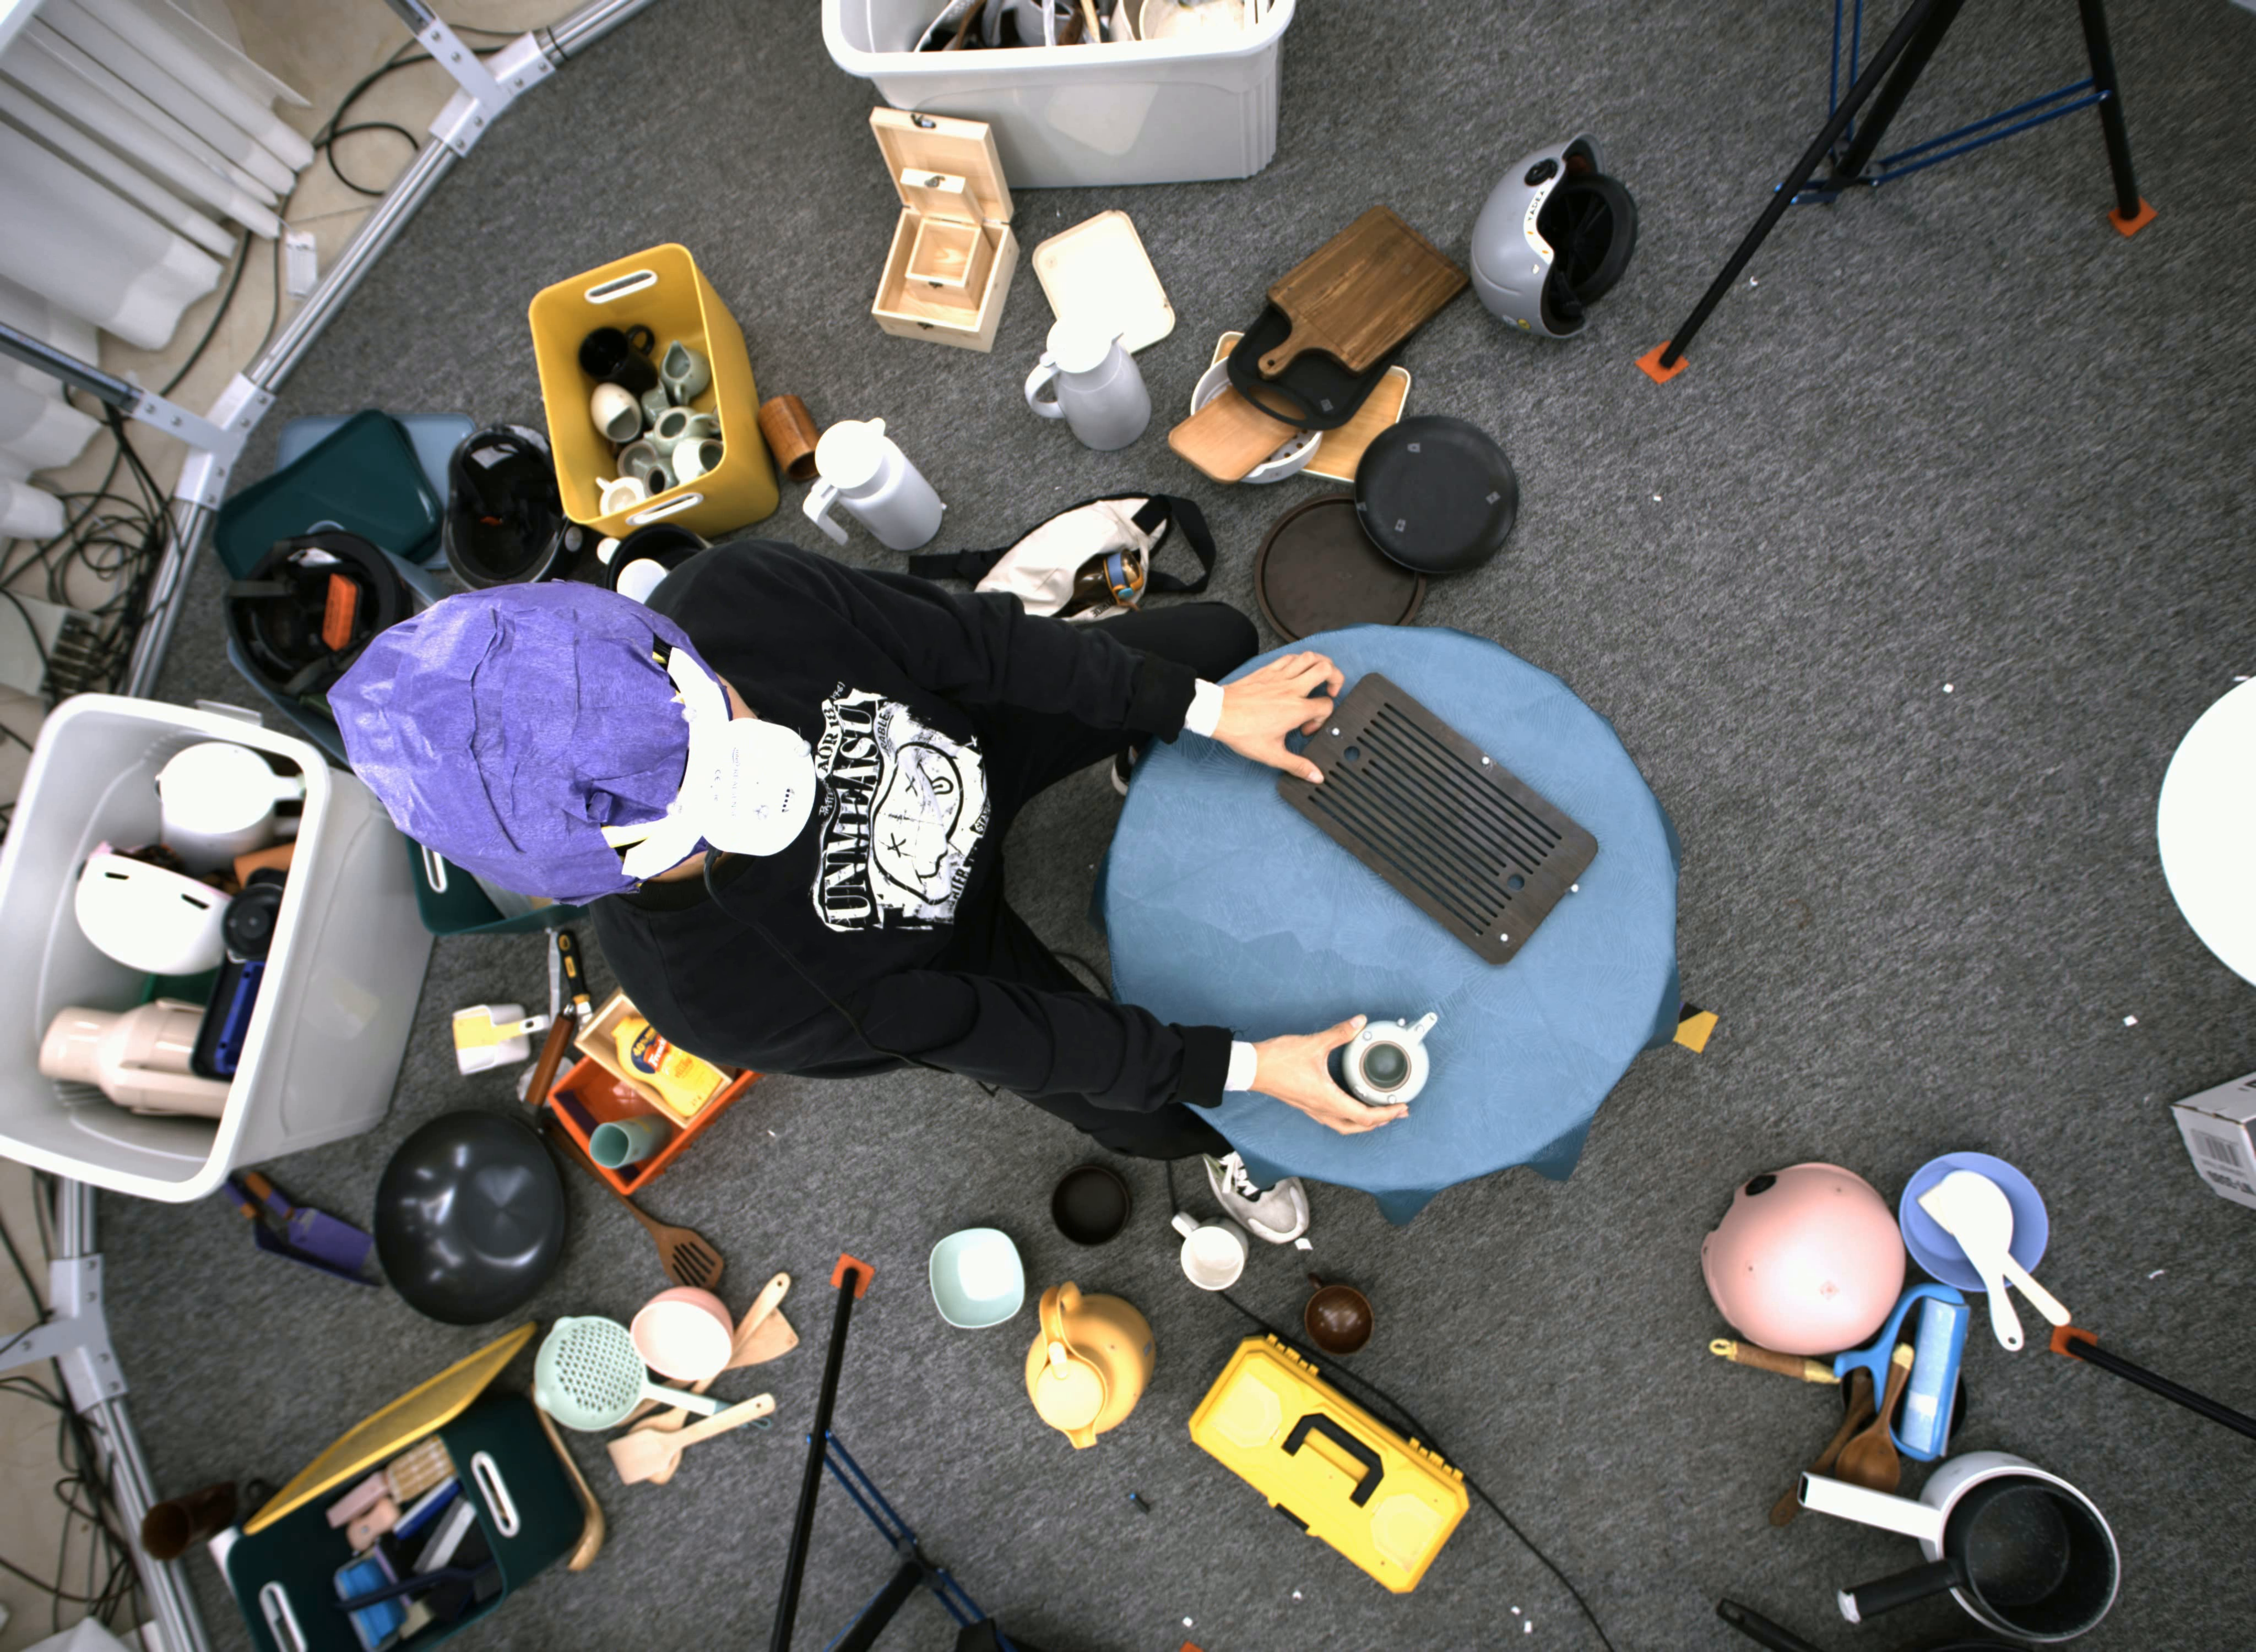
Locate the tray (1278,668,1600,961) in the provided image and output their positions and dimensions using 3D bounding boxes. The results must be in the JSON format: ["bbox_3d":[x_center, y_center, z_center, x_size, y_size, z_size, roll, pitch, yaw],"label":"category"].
[{"bbox_3d":[0.324,-0.016,1.446,0.305,0.018,0.171,40,95,10],"label":"tray"}]

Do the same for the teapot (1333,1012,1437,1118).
[{"bbox_3d":[0.263,0.241,1.418,0.144,0.075,0.088,-45,80,4],"label":"teapot"}]
